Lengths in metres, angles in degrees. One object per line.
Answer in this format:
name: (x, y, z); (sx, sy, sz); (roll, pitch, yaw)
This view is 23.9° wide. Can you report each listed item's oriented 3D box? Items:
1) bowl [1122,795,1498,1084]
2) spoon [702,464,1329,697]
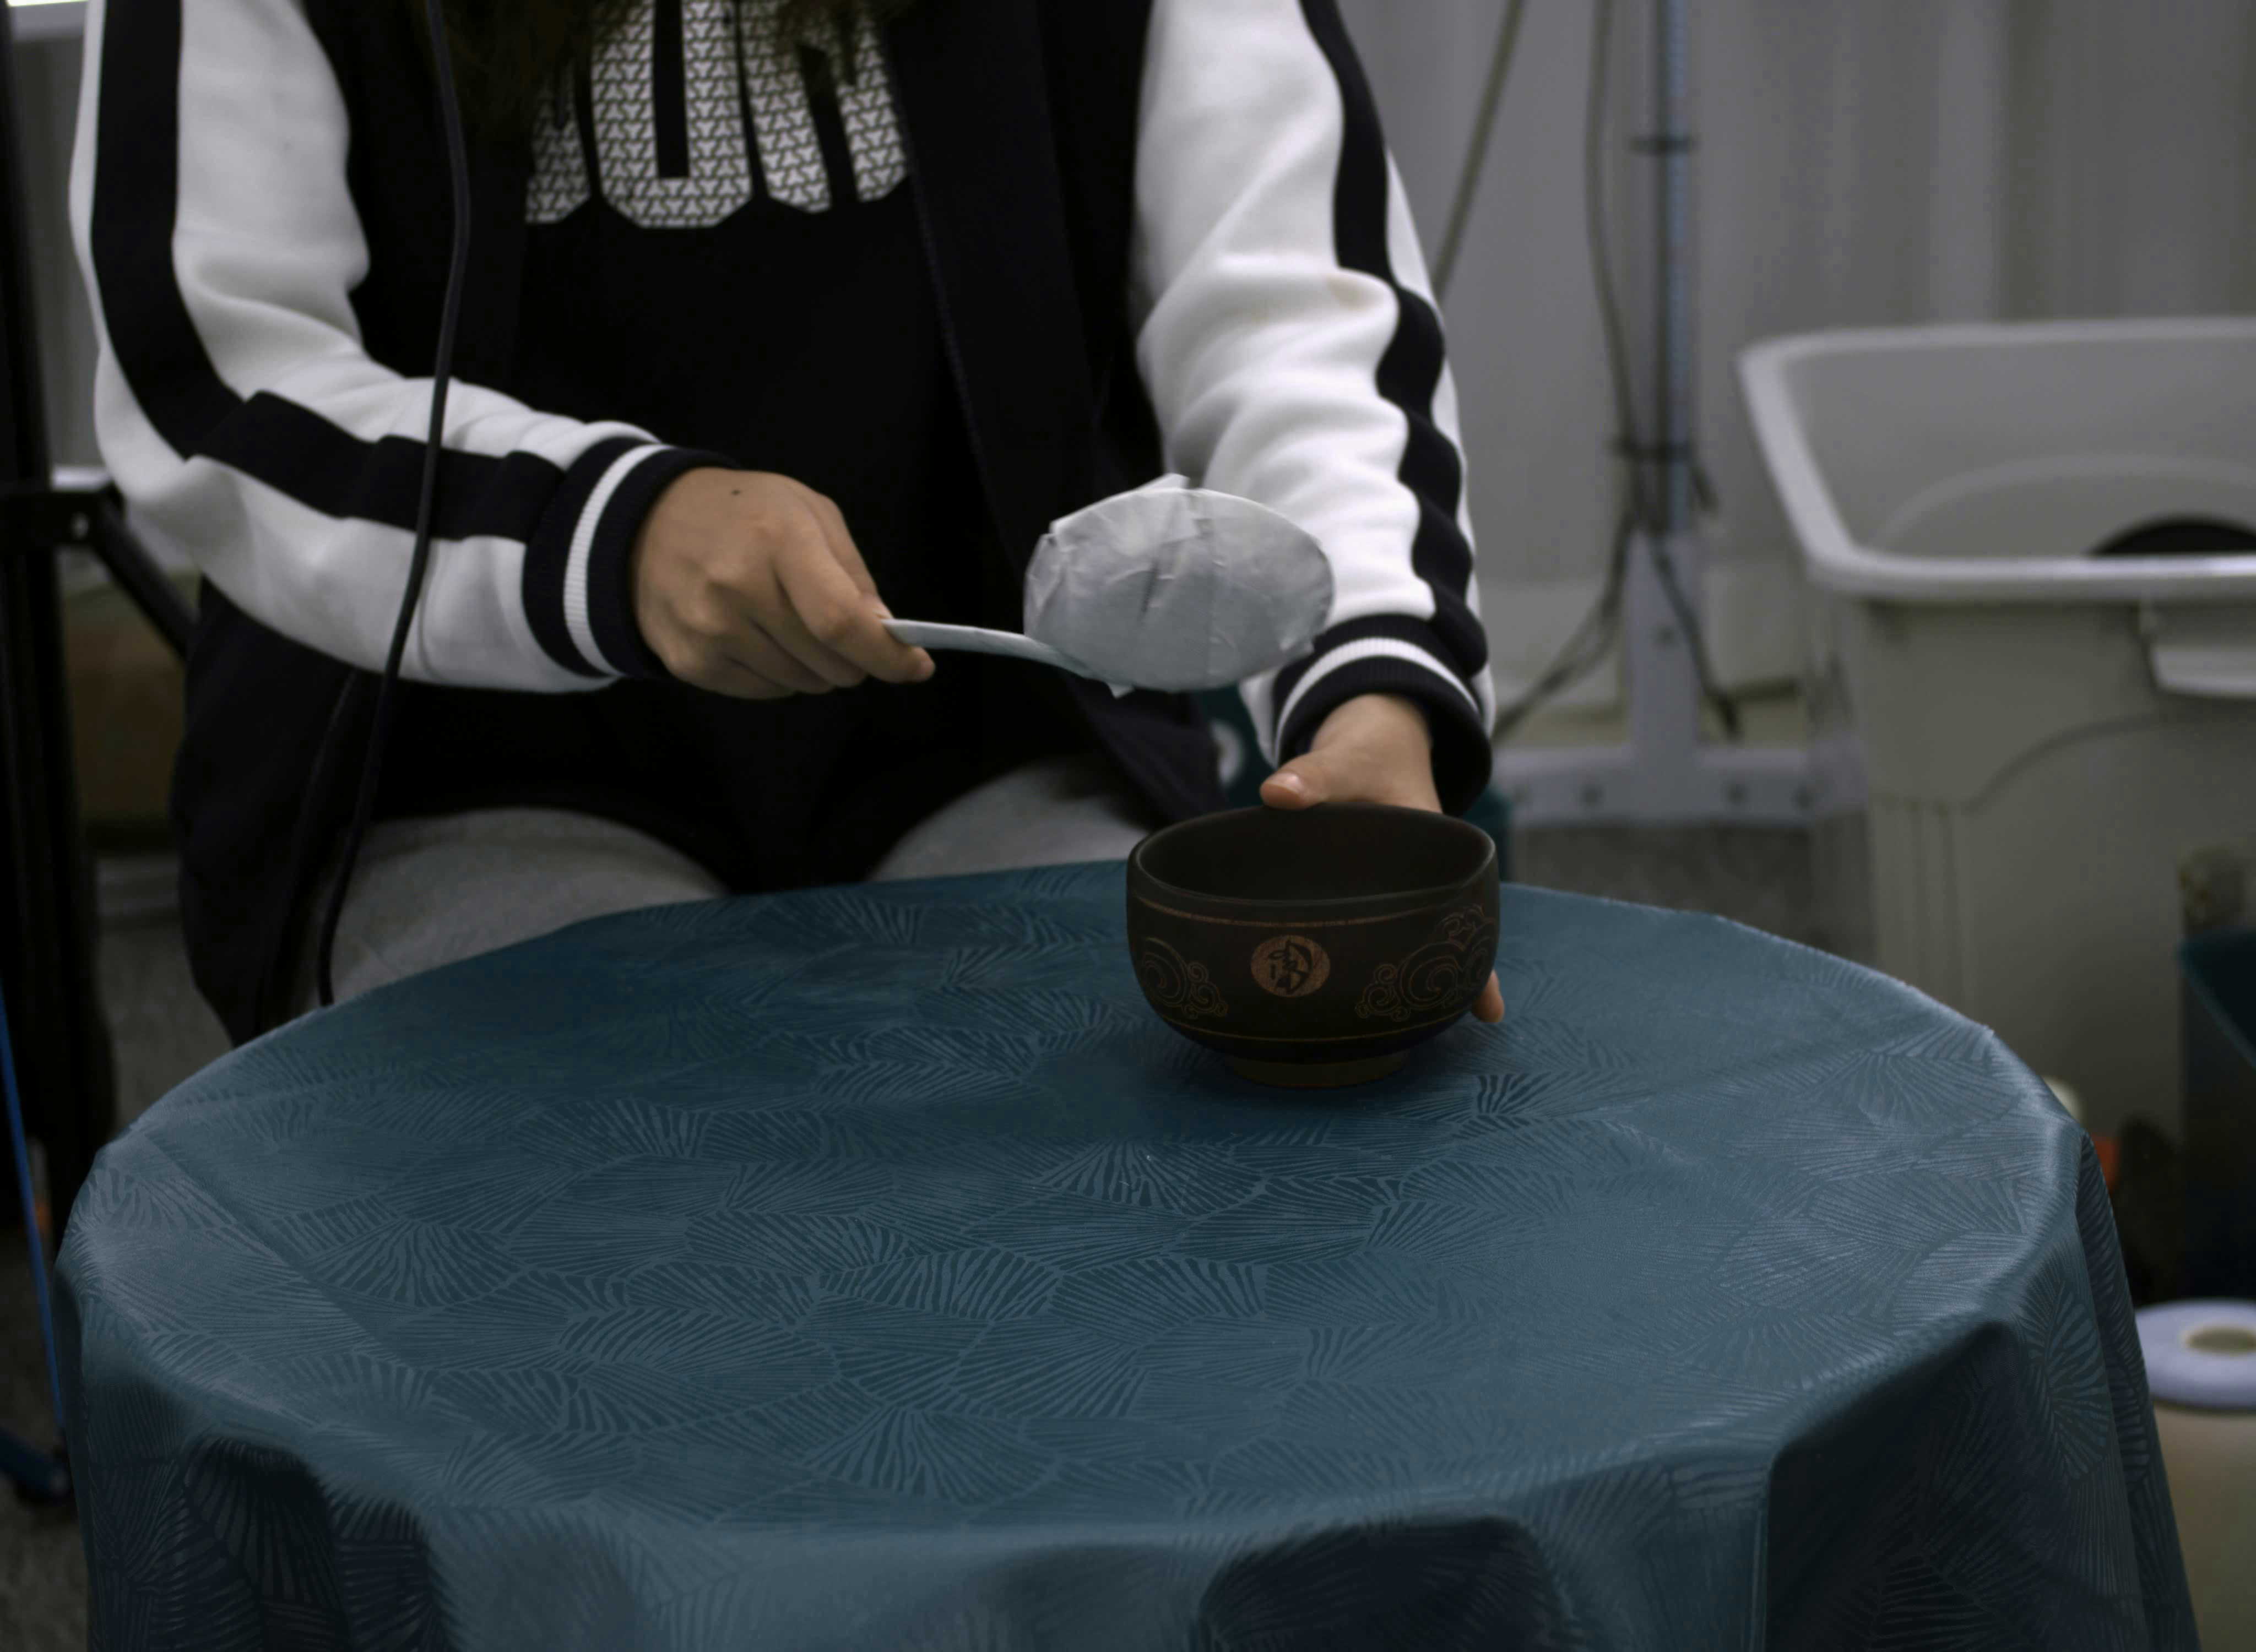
bowl: (0.057, 0.039, 1.658); (0.117, 0.070, 0.118); (-2, 15, -1)
spoon: (-0.043, -0.076, 1.686); (0.098, 0.059, 0.283); (40, -19, -30)
